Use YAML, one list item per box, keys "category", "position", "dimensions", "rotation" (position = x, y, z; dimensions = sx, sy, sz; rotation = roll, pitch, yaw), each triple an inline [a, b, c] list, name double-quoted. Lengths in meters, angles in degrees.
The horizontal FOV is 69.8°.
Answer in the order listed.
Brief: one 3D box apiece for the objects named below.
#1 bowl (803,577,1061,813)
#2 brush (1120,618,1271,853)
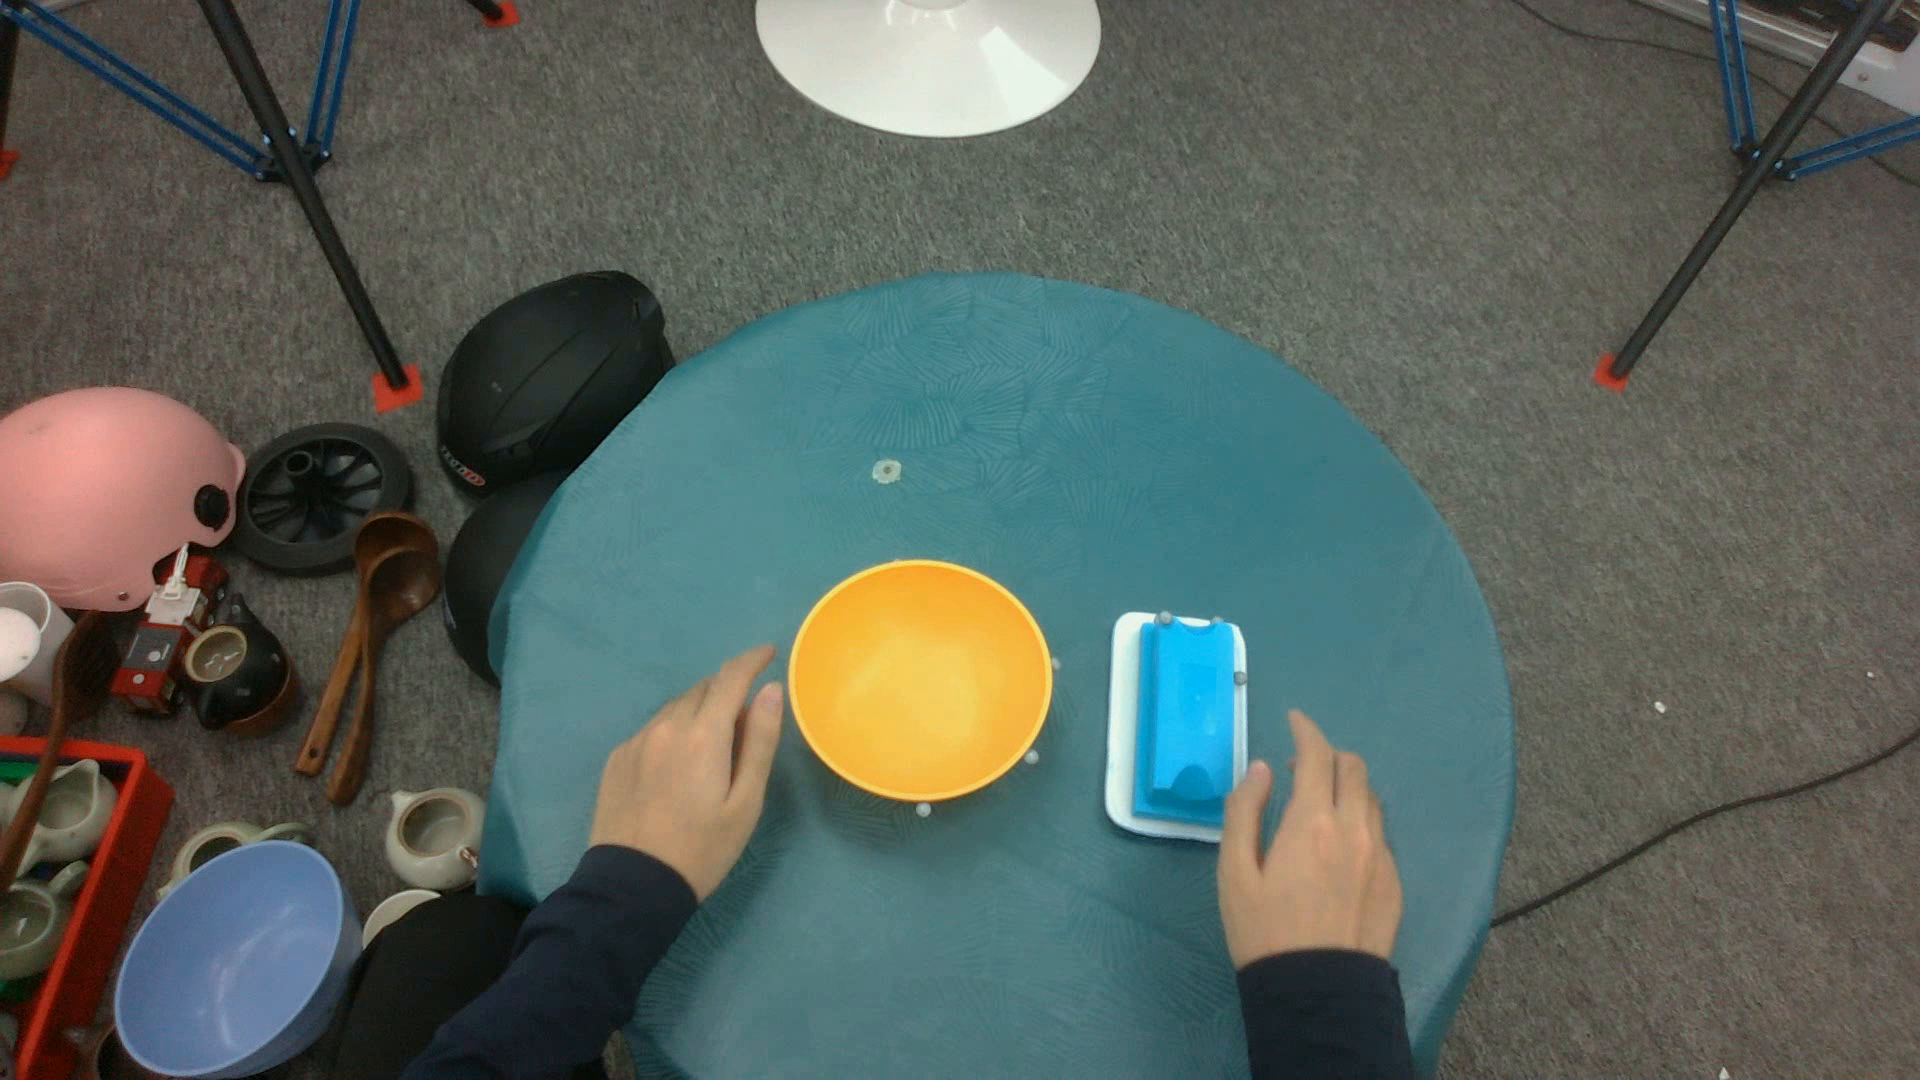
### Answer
- category: "bowl"
  position: [-0.016, 0.096, 0.784]
  dimensions: [0.145, 0.060, 0.146]
  rotation: [1, 56, -1]
- category: "brush"
  position: [0.137, 0.103, 0.785]
  dimensions: [0.084, 0.055, 0.144]
  rotation: [5, 55, 5]
